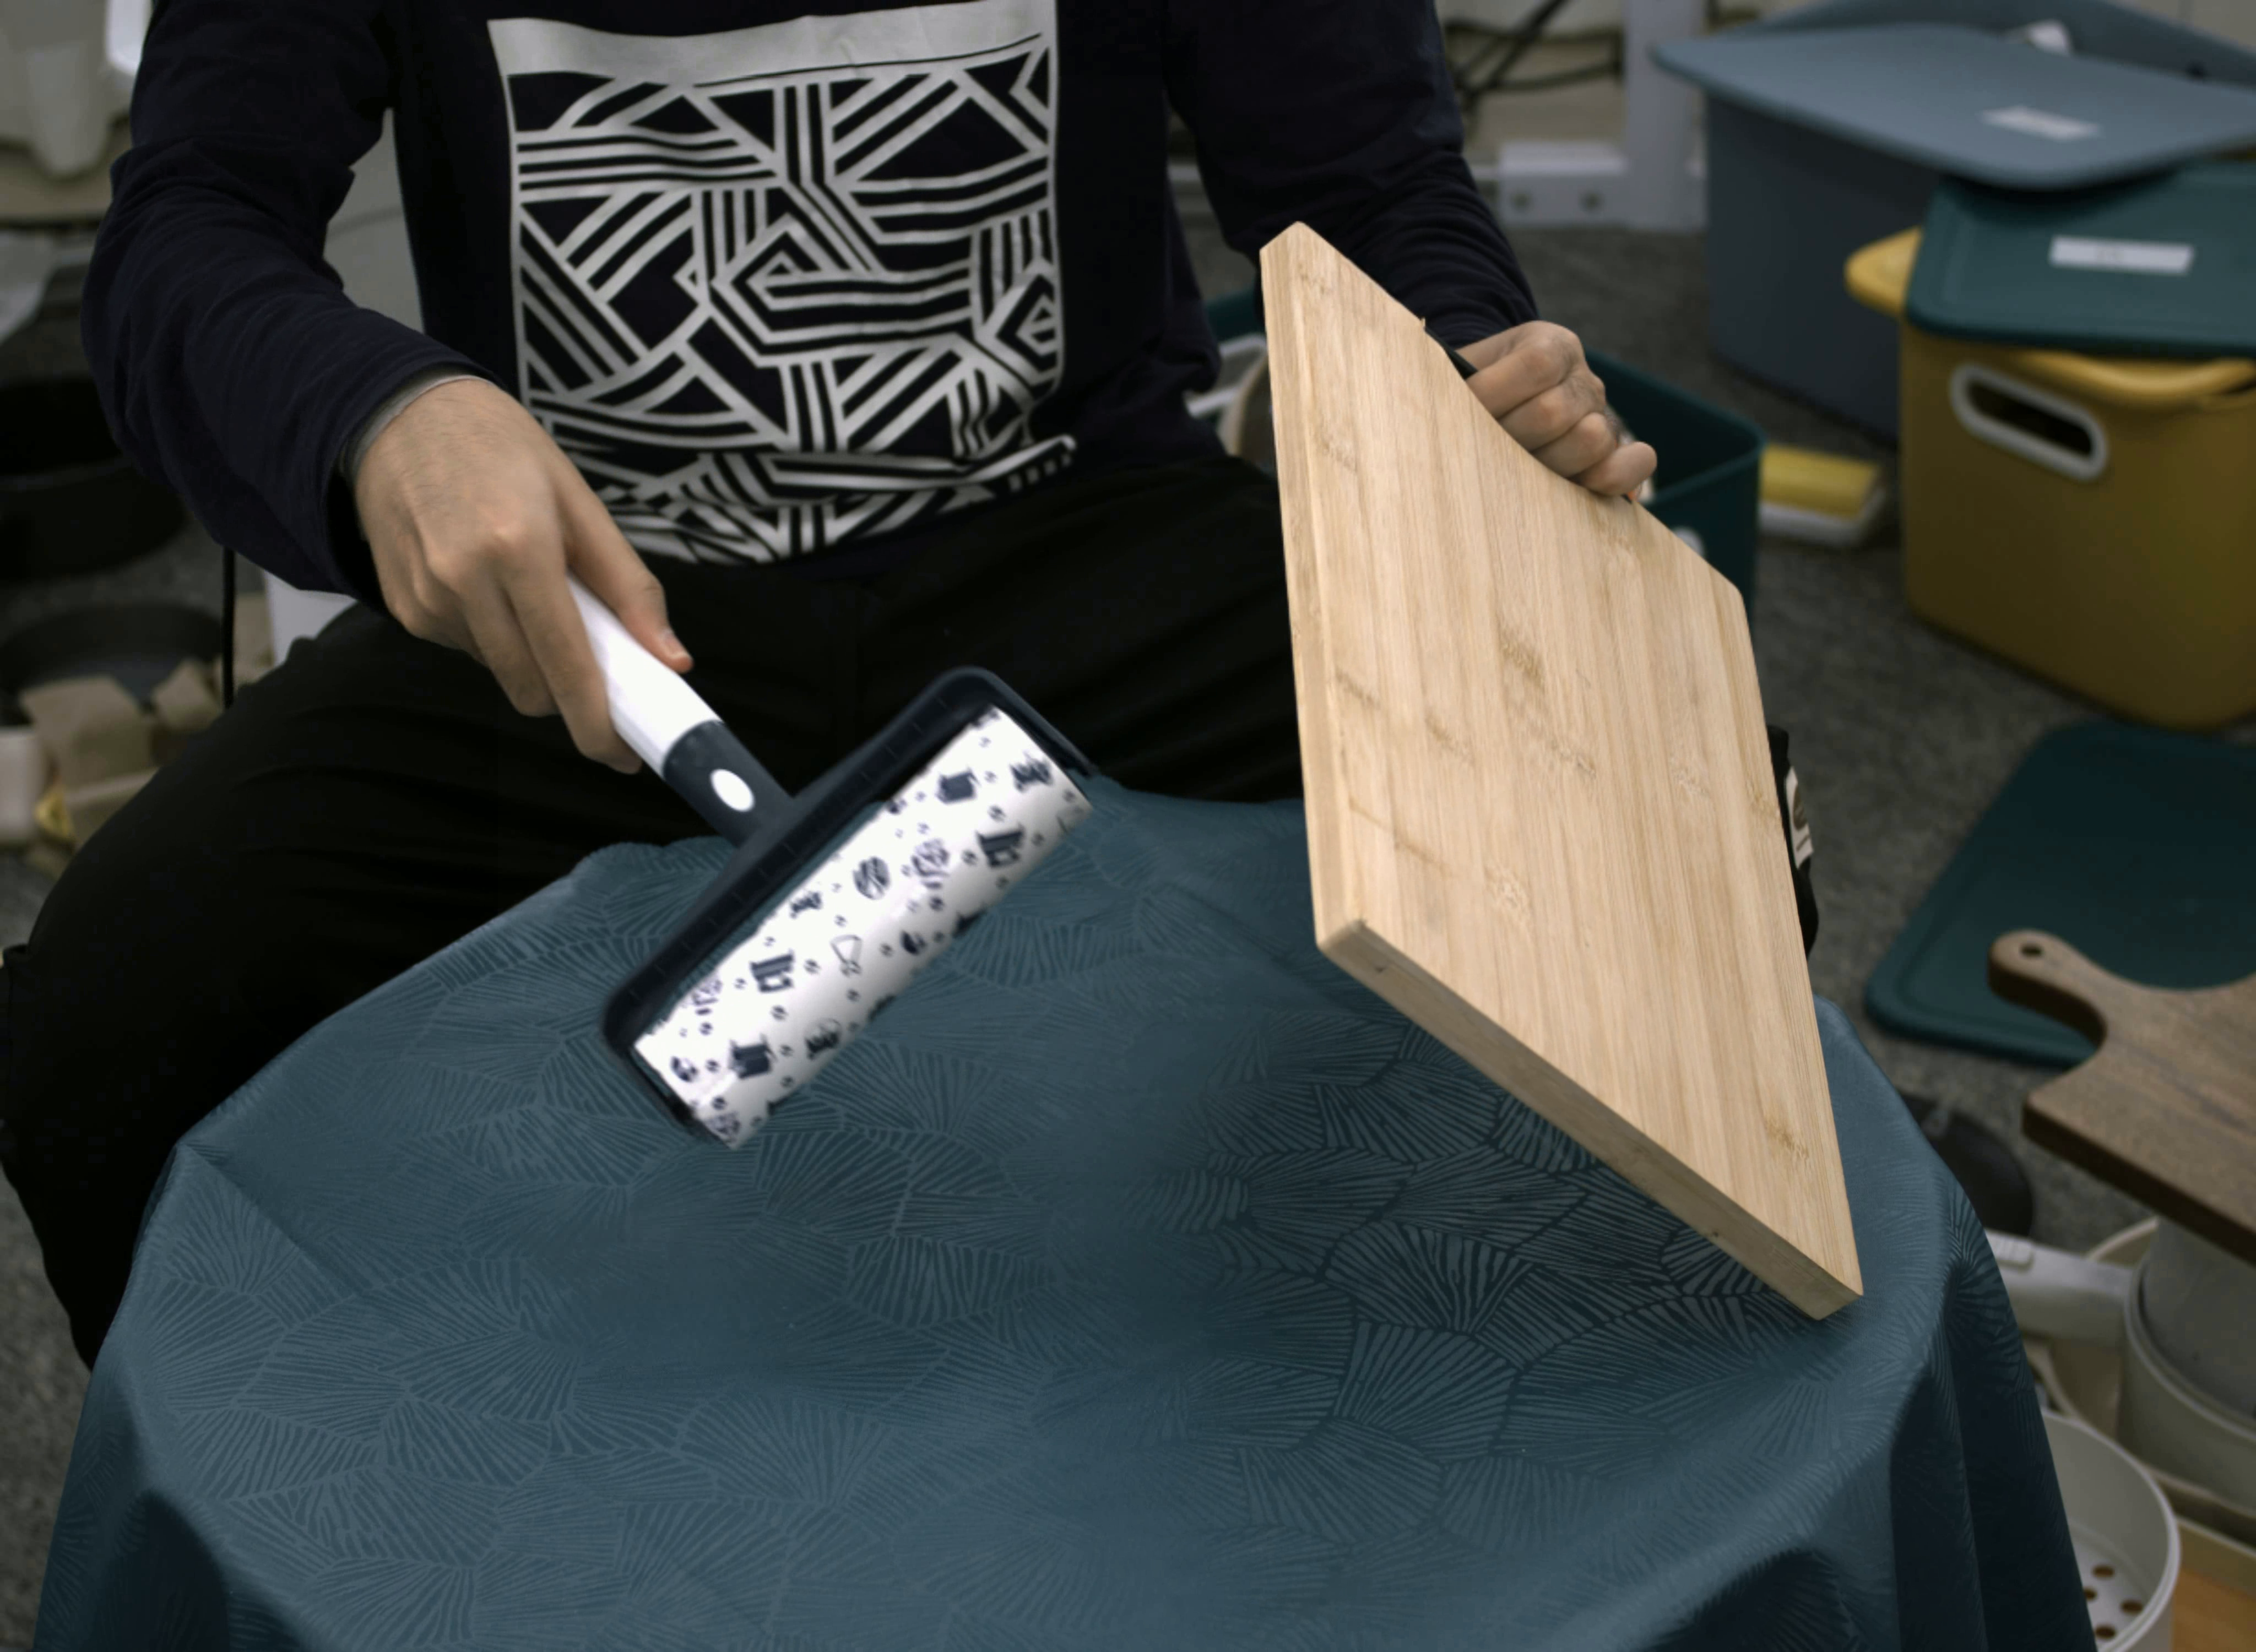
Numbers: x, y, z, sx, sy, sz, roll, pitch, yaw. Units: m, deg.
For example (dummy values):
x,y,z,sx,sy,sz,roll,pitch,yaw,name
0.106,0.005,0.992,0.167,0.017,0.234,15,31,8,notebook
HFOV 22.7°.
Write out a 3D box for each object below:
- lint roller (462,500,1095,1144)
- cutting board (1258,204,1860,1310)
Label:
x,y,z,sx,sy,sz,roll,pitch,yaw,name
-0.147,-0.030,1.848,0.177,0.050,0.248,-44,62,-6,lint roller
0.136,-0.028,1.842,0.023,0.249,0.355,-36,35,26,cutting board
